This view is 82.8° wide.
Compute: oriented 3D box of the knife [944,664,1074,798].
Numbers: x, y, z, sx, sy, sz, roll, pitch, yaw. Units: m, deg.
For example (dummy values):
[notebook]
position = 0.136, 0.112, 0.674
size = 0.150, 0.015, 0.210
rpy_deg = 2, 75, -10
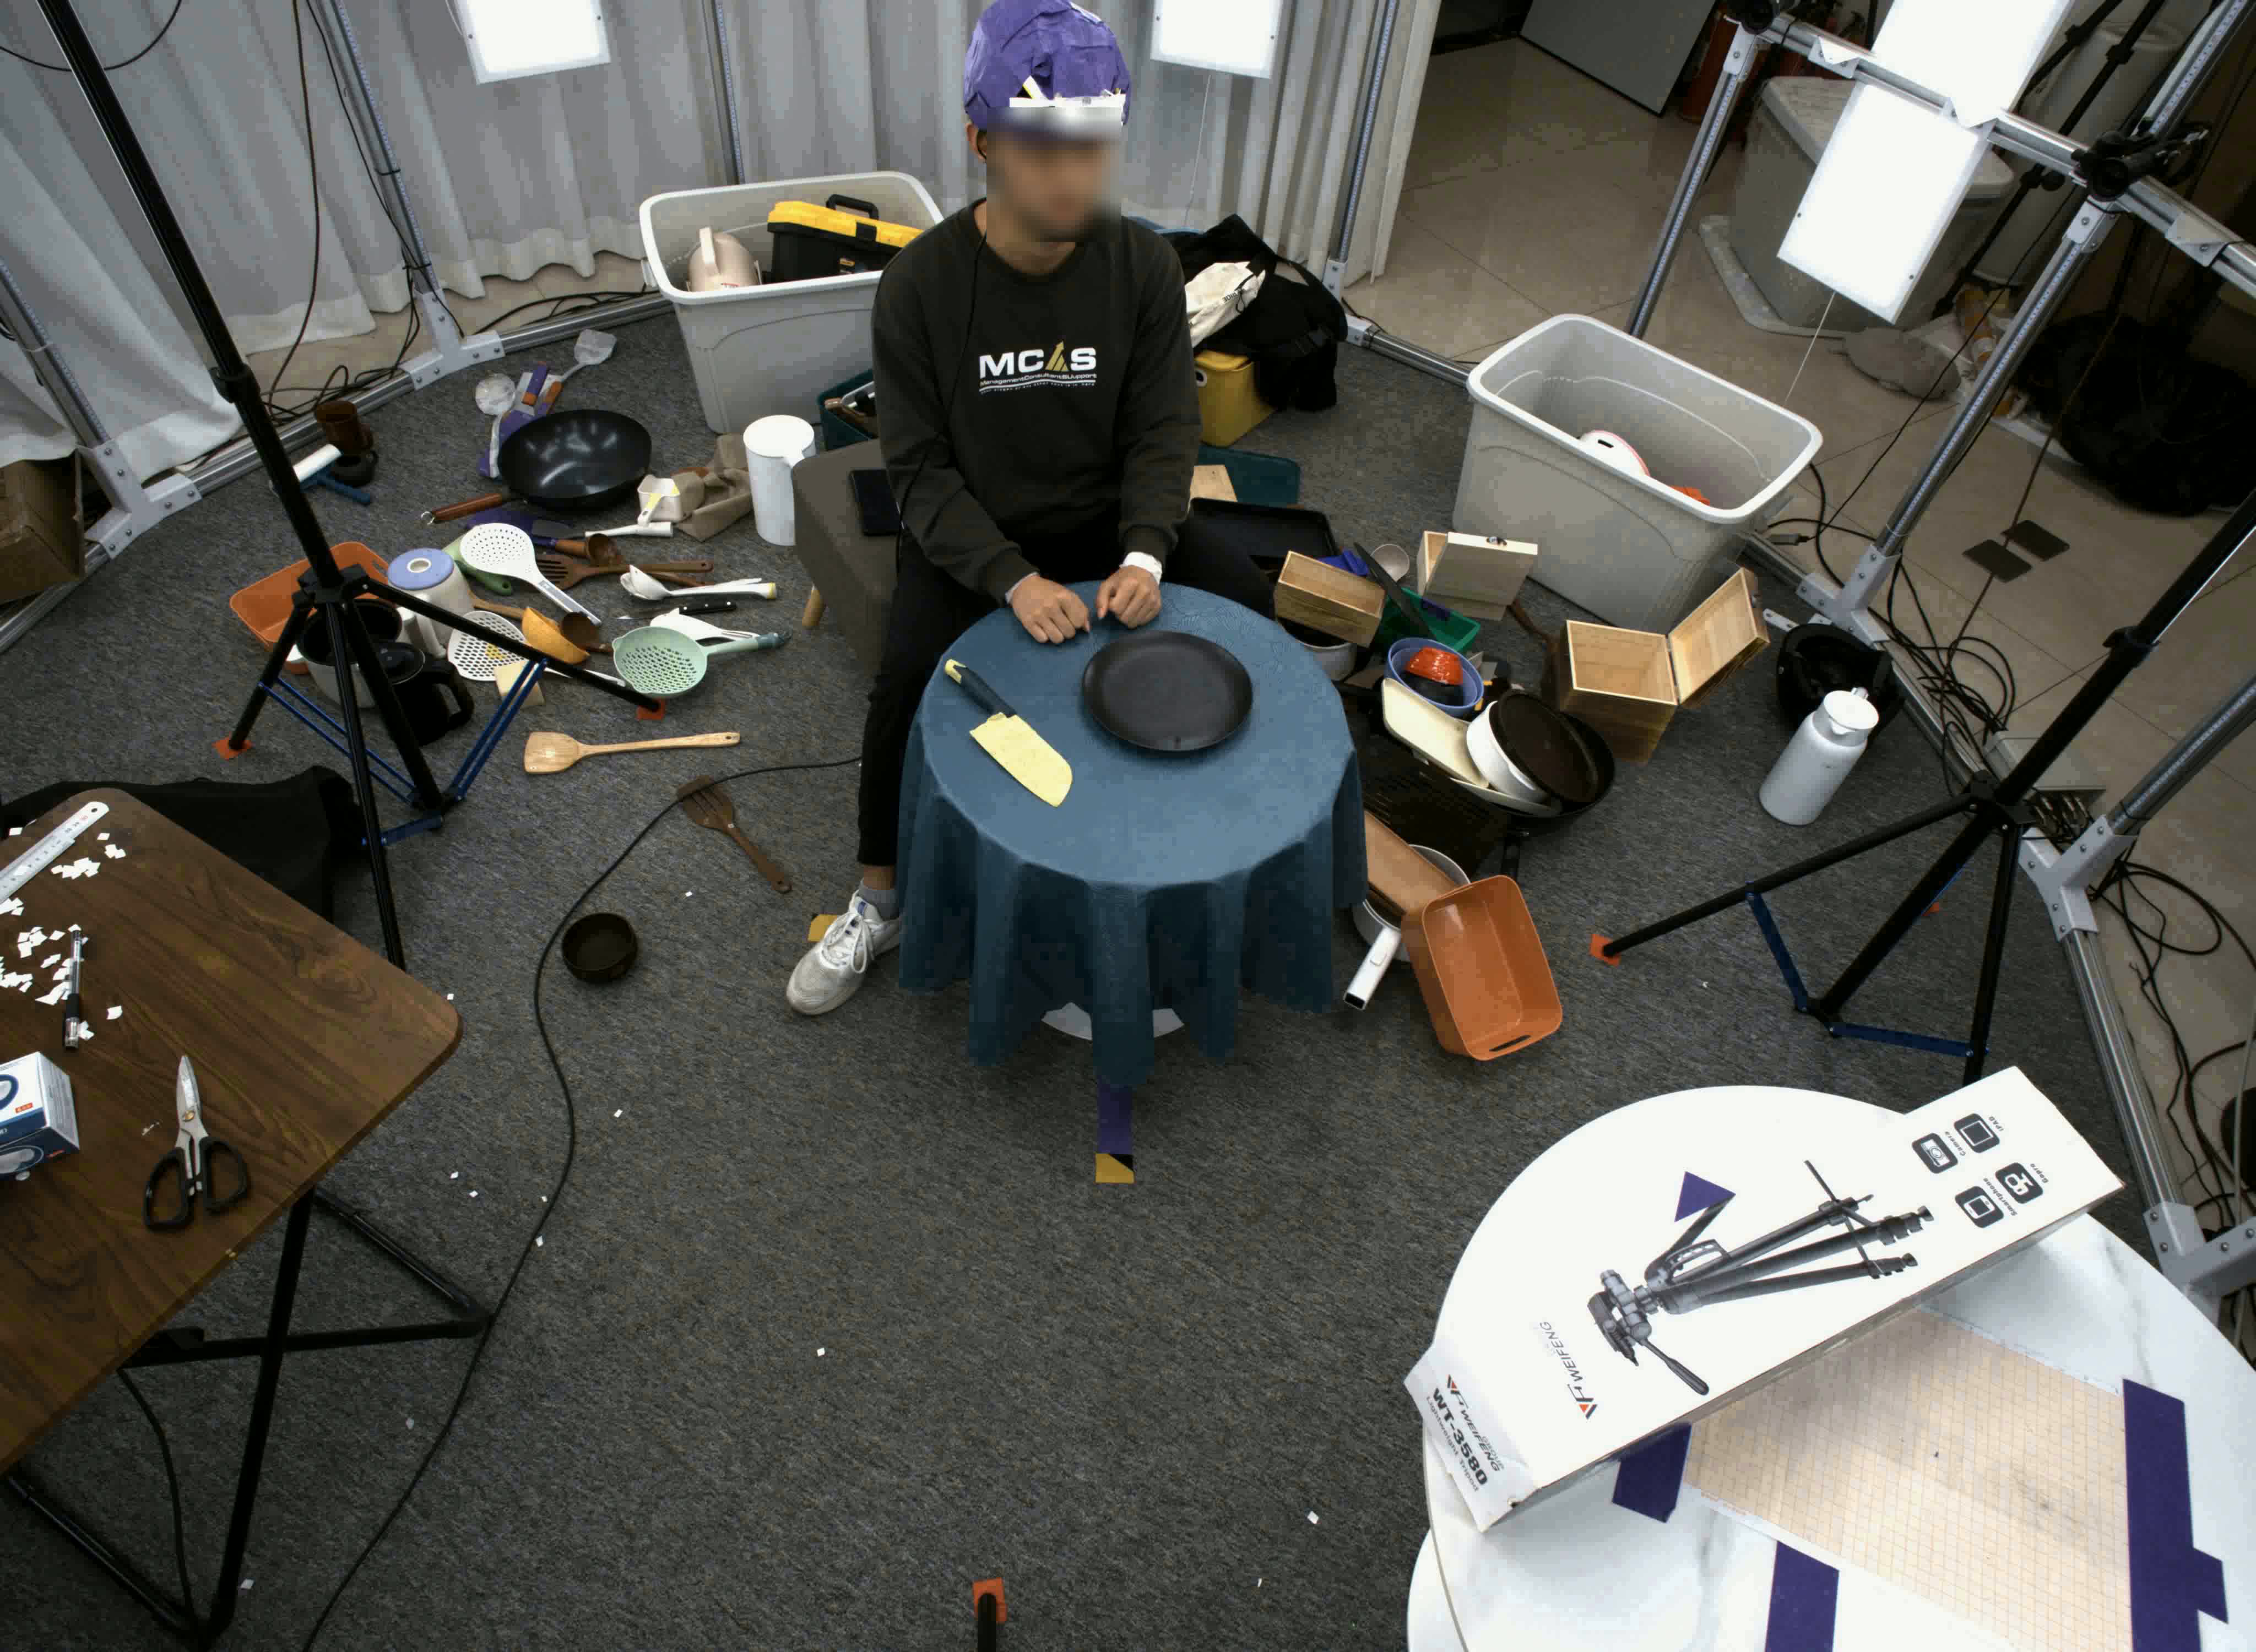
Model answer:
[knife]
position = -0.172, -0.130, 1.759
size = 0.081, 0.026, 0.294
rpy_deg = -29, 57, -27

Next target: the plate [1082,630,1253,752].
[plate]
position = 0.056, -0.190, 1.820
size = 0.244, 0.023, 0.250
rpy_deg = 2, 49, -2
